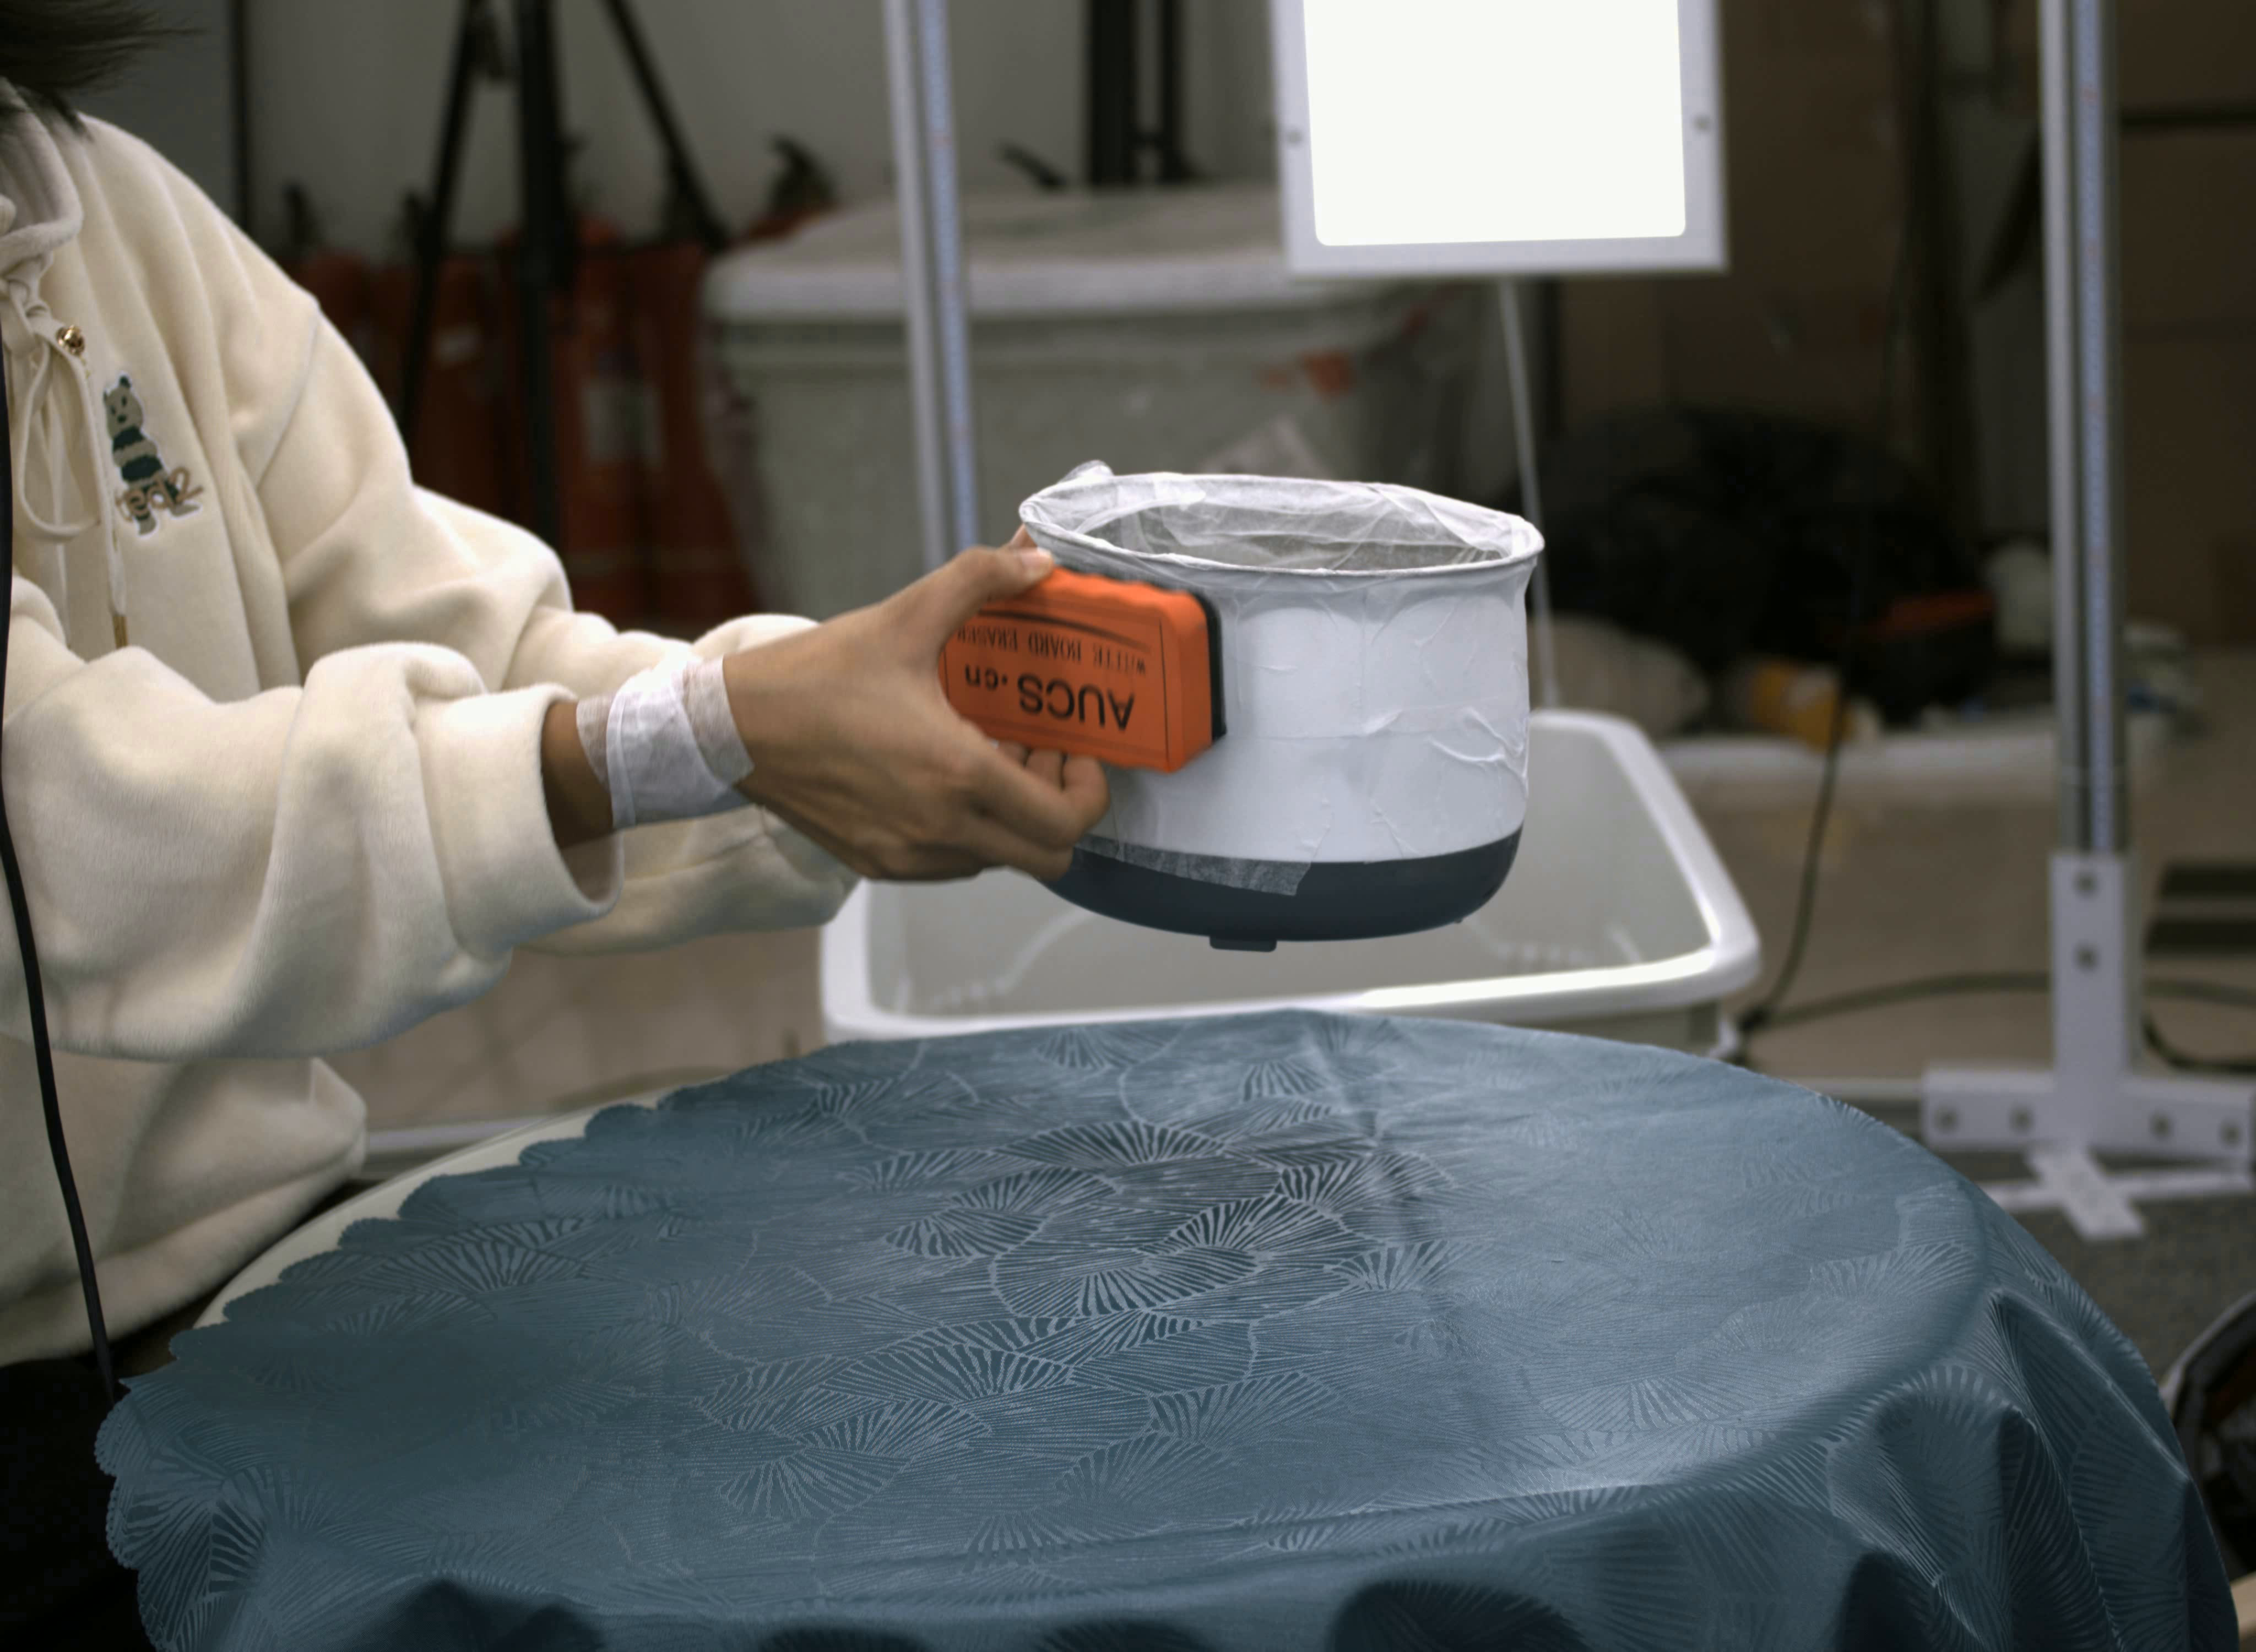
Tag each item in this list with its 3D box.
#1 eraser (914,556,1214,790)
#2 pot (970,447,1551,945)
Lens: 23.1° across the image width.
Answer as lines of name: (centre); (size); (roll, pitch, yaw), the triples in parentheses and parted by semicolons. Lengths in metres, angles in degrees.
eraser: (-0.021, -0.050, 1.768); (0.110, 0.059, 0.022); (14, 28, 39)
pot: (0.030, -0.049, 1.873); (0.174, 0.137, 0.238); (-6, 17, -40)
